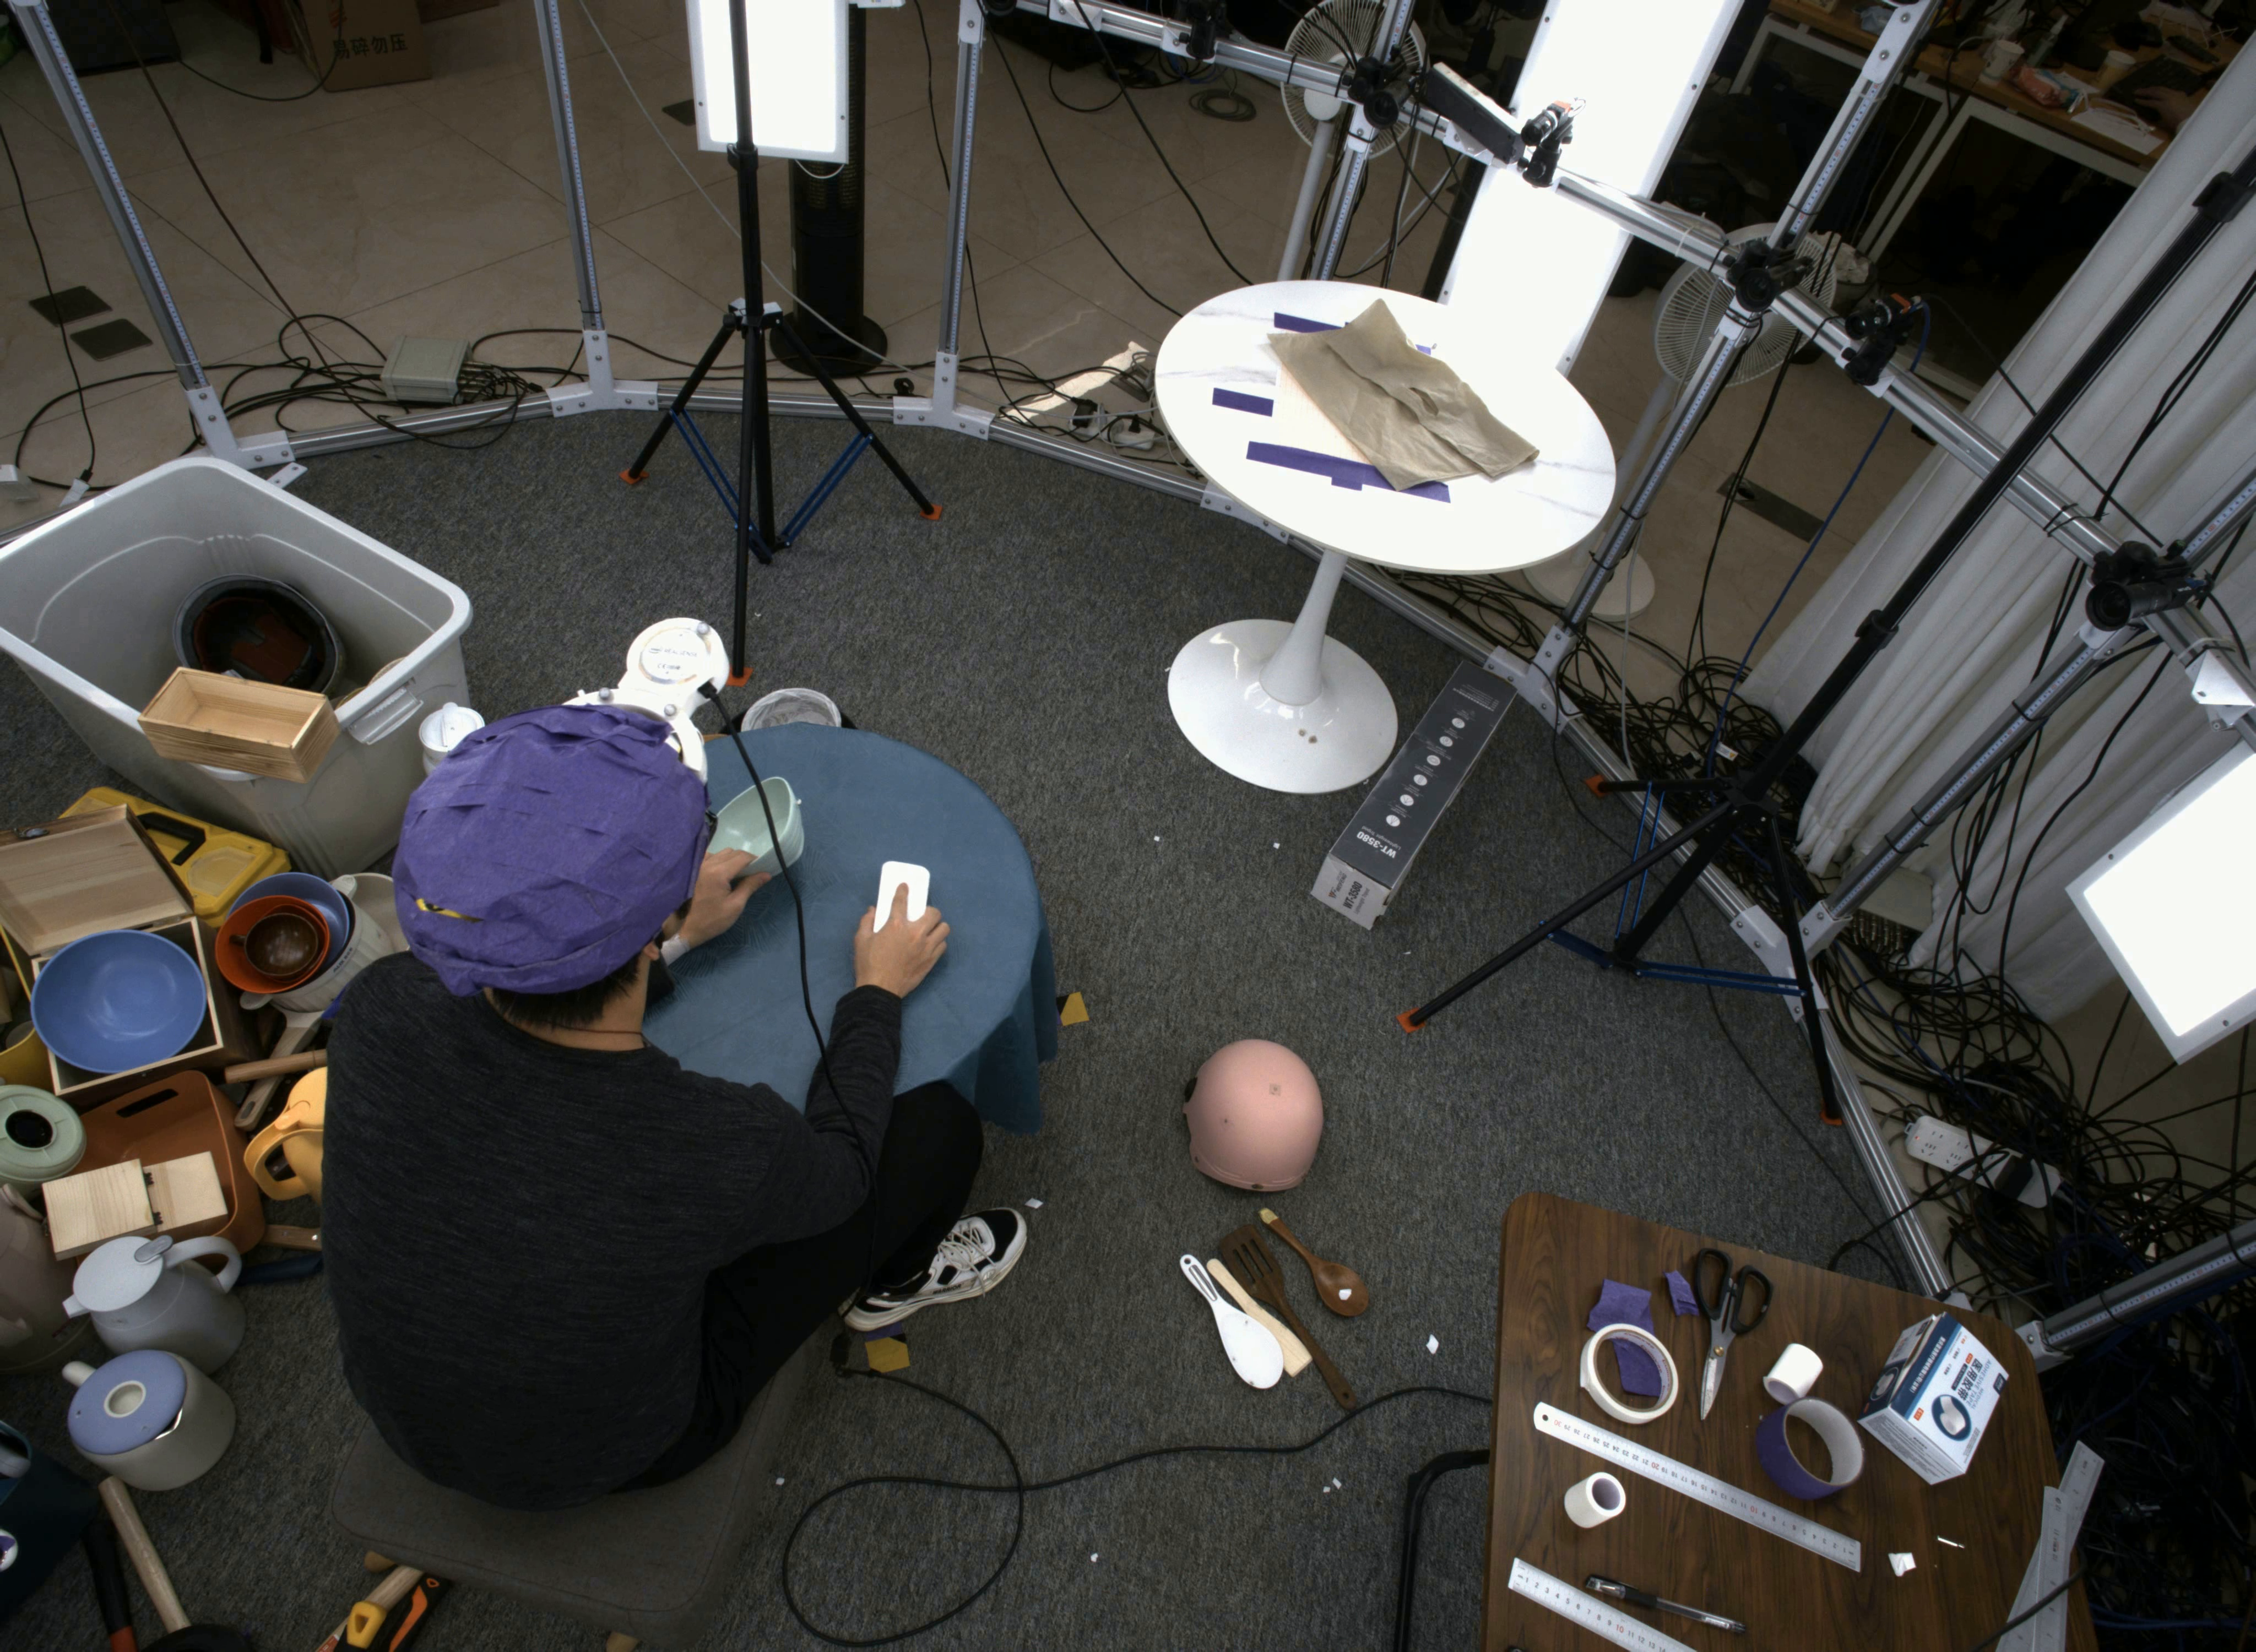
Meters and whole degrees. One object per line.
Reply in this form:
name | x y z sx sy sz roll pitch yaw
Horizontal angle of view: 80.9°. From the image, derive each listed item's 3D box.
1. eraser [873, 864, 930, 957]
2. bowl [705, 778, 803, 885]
eraser | -0.288 0.103 1.650 0.063 0.035 0.129 12 48 -12
bowl | -0.462 0.016 1.632 0.148 0.061 0.148 -18 48 22
